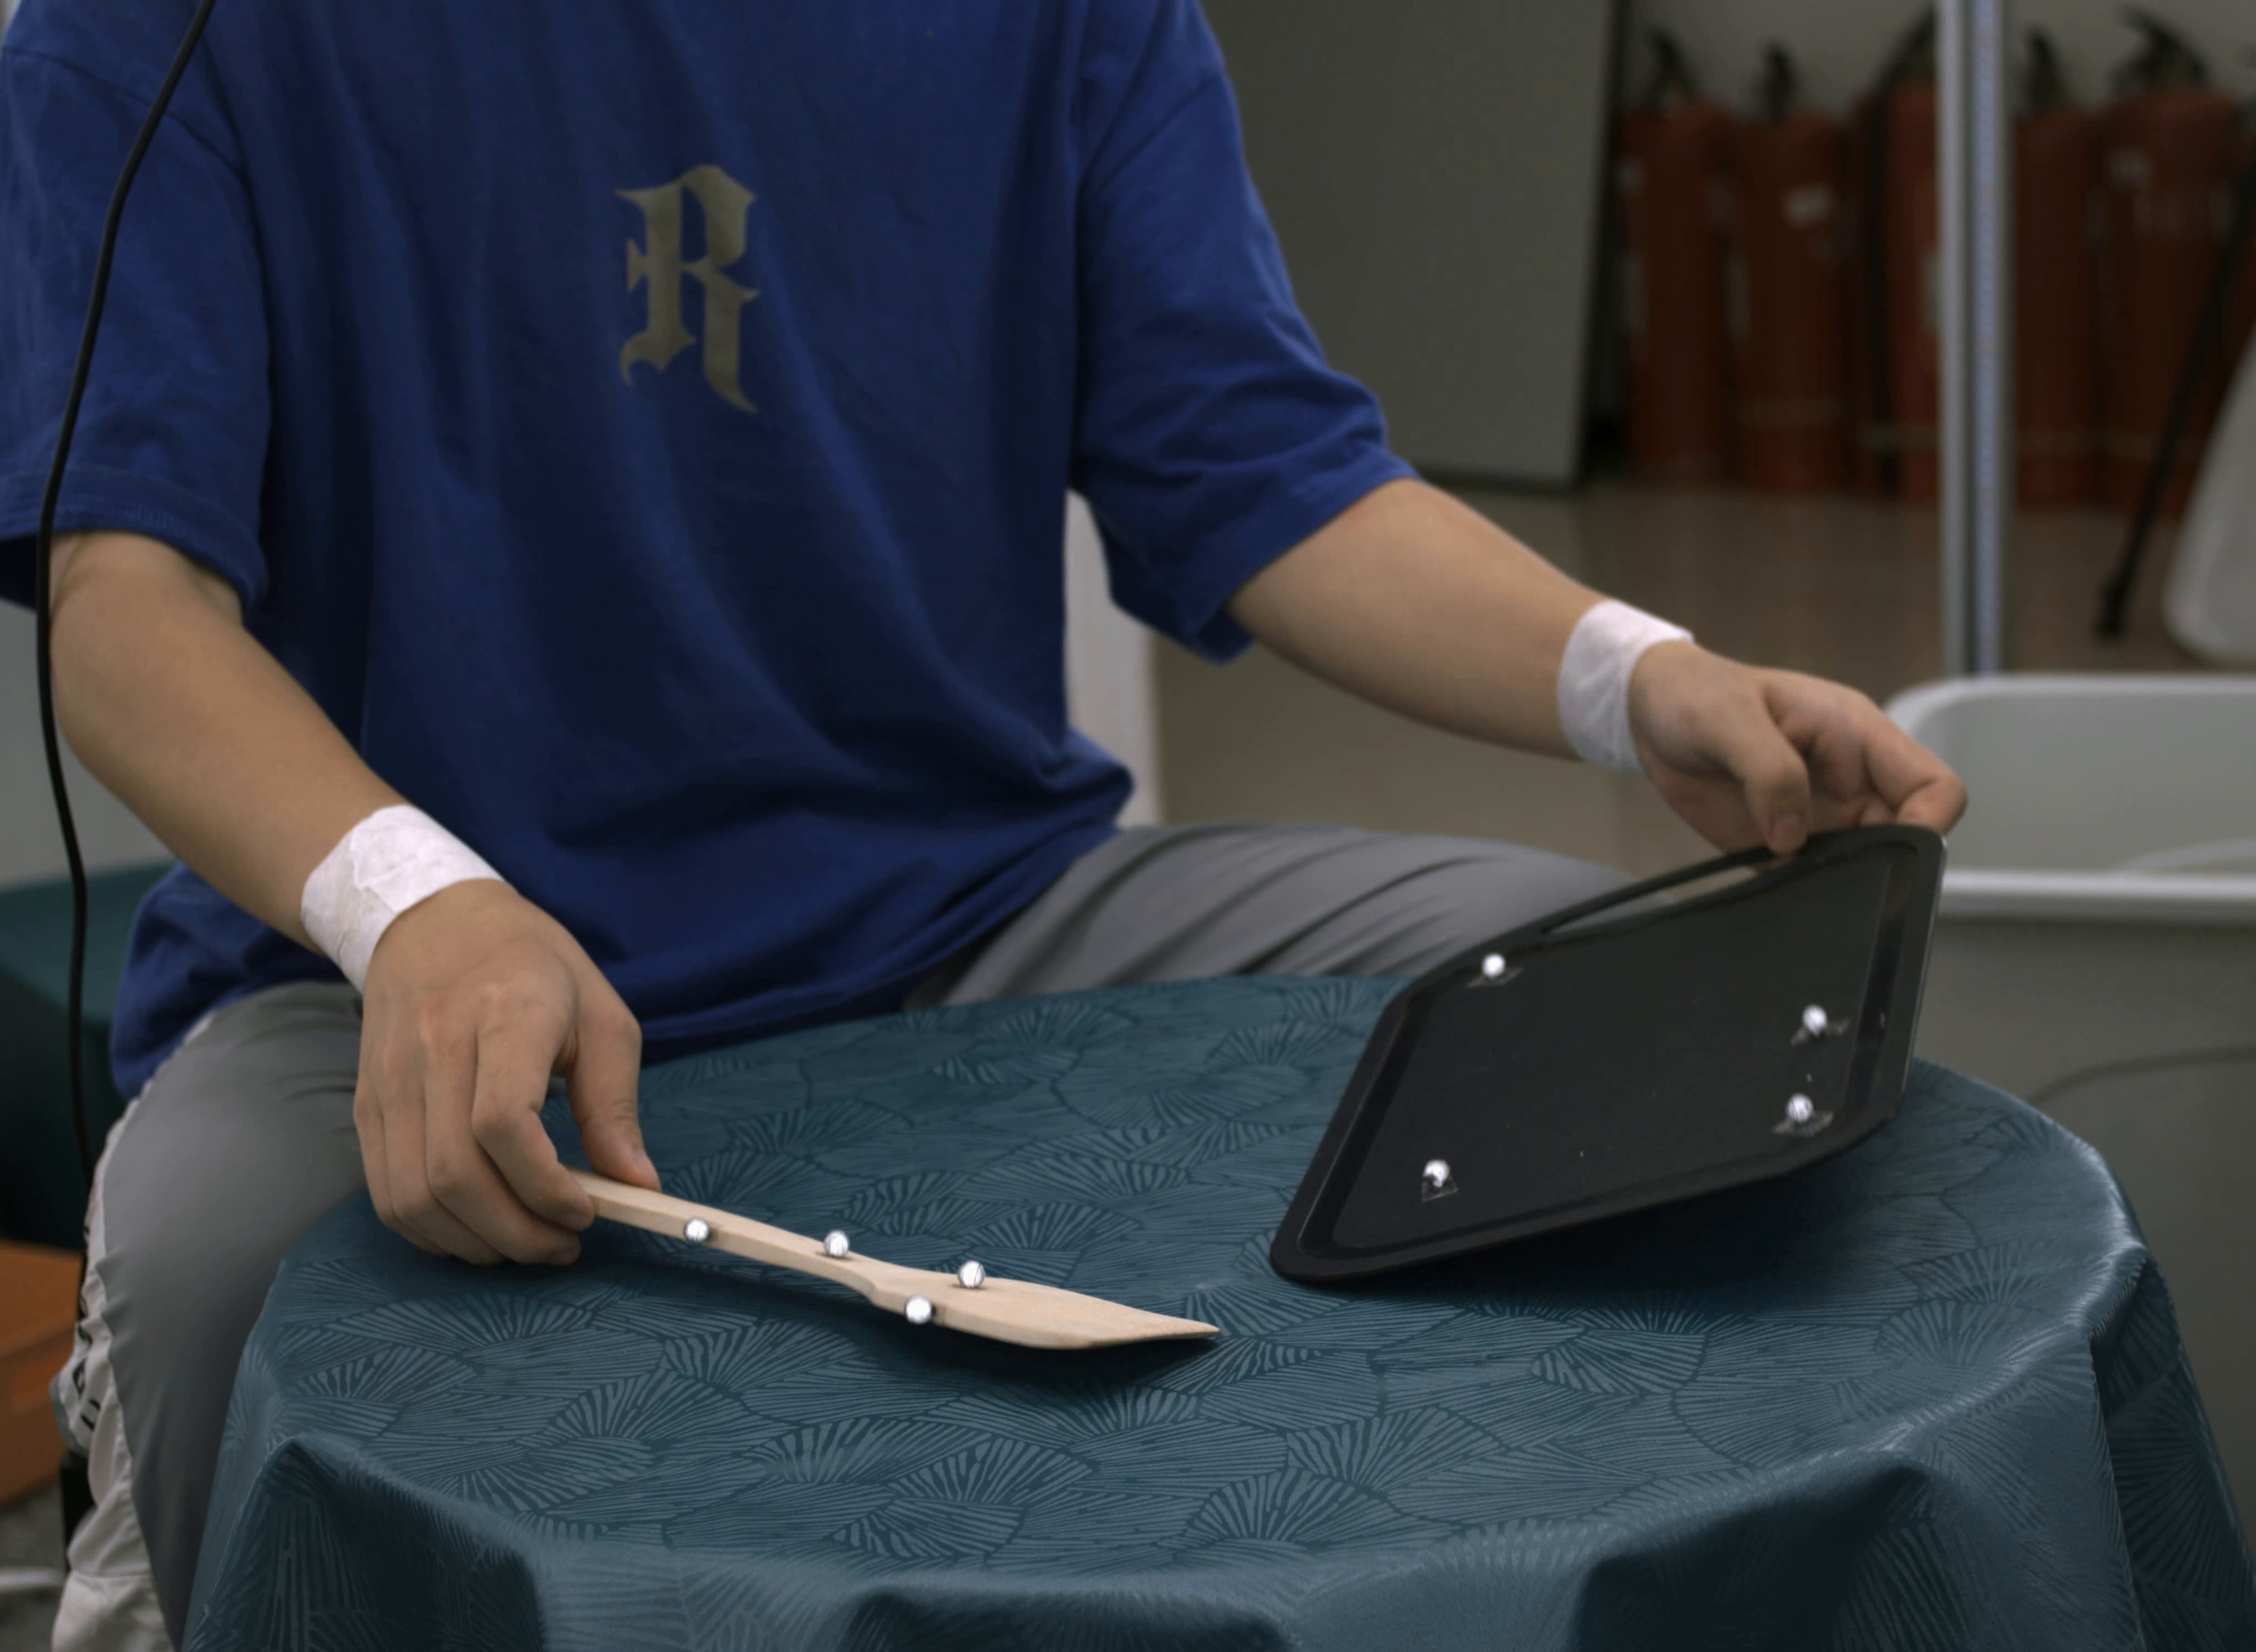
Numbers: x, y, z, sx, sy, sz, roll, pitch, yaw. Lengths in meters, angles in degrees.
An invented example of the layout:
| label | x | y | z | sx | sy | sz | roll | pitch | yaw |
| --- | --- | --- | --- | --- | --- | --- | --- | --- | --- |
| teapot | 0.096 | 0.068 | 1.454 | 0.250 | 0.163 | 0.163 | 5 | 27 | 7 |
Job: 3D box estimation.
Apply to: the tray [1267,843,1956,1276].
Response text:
| label | x | y | z | sx | sy | sz | roll | pitch | yaw |
| --- | --- | --- | --- | --- | --- | --- | --- | --- | --- |
| tray | 0.165 | 0.070 | 1.777 | 0.211 | 0.010 | 0.323 | -15 | 14 | 18 |

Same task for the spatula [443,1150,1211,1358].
| label | x | y | z | sx | sy | sz | roll | pitch | yaw |
| --- | --- | --- | --- | --- | --- | --- | --- | --- | --- |
| spatula | -0.106 | 0.133 | 1.687 | 0.295 | 0.011 | 0.071 | 11 | 8 | 38 |
